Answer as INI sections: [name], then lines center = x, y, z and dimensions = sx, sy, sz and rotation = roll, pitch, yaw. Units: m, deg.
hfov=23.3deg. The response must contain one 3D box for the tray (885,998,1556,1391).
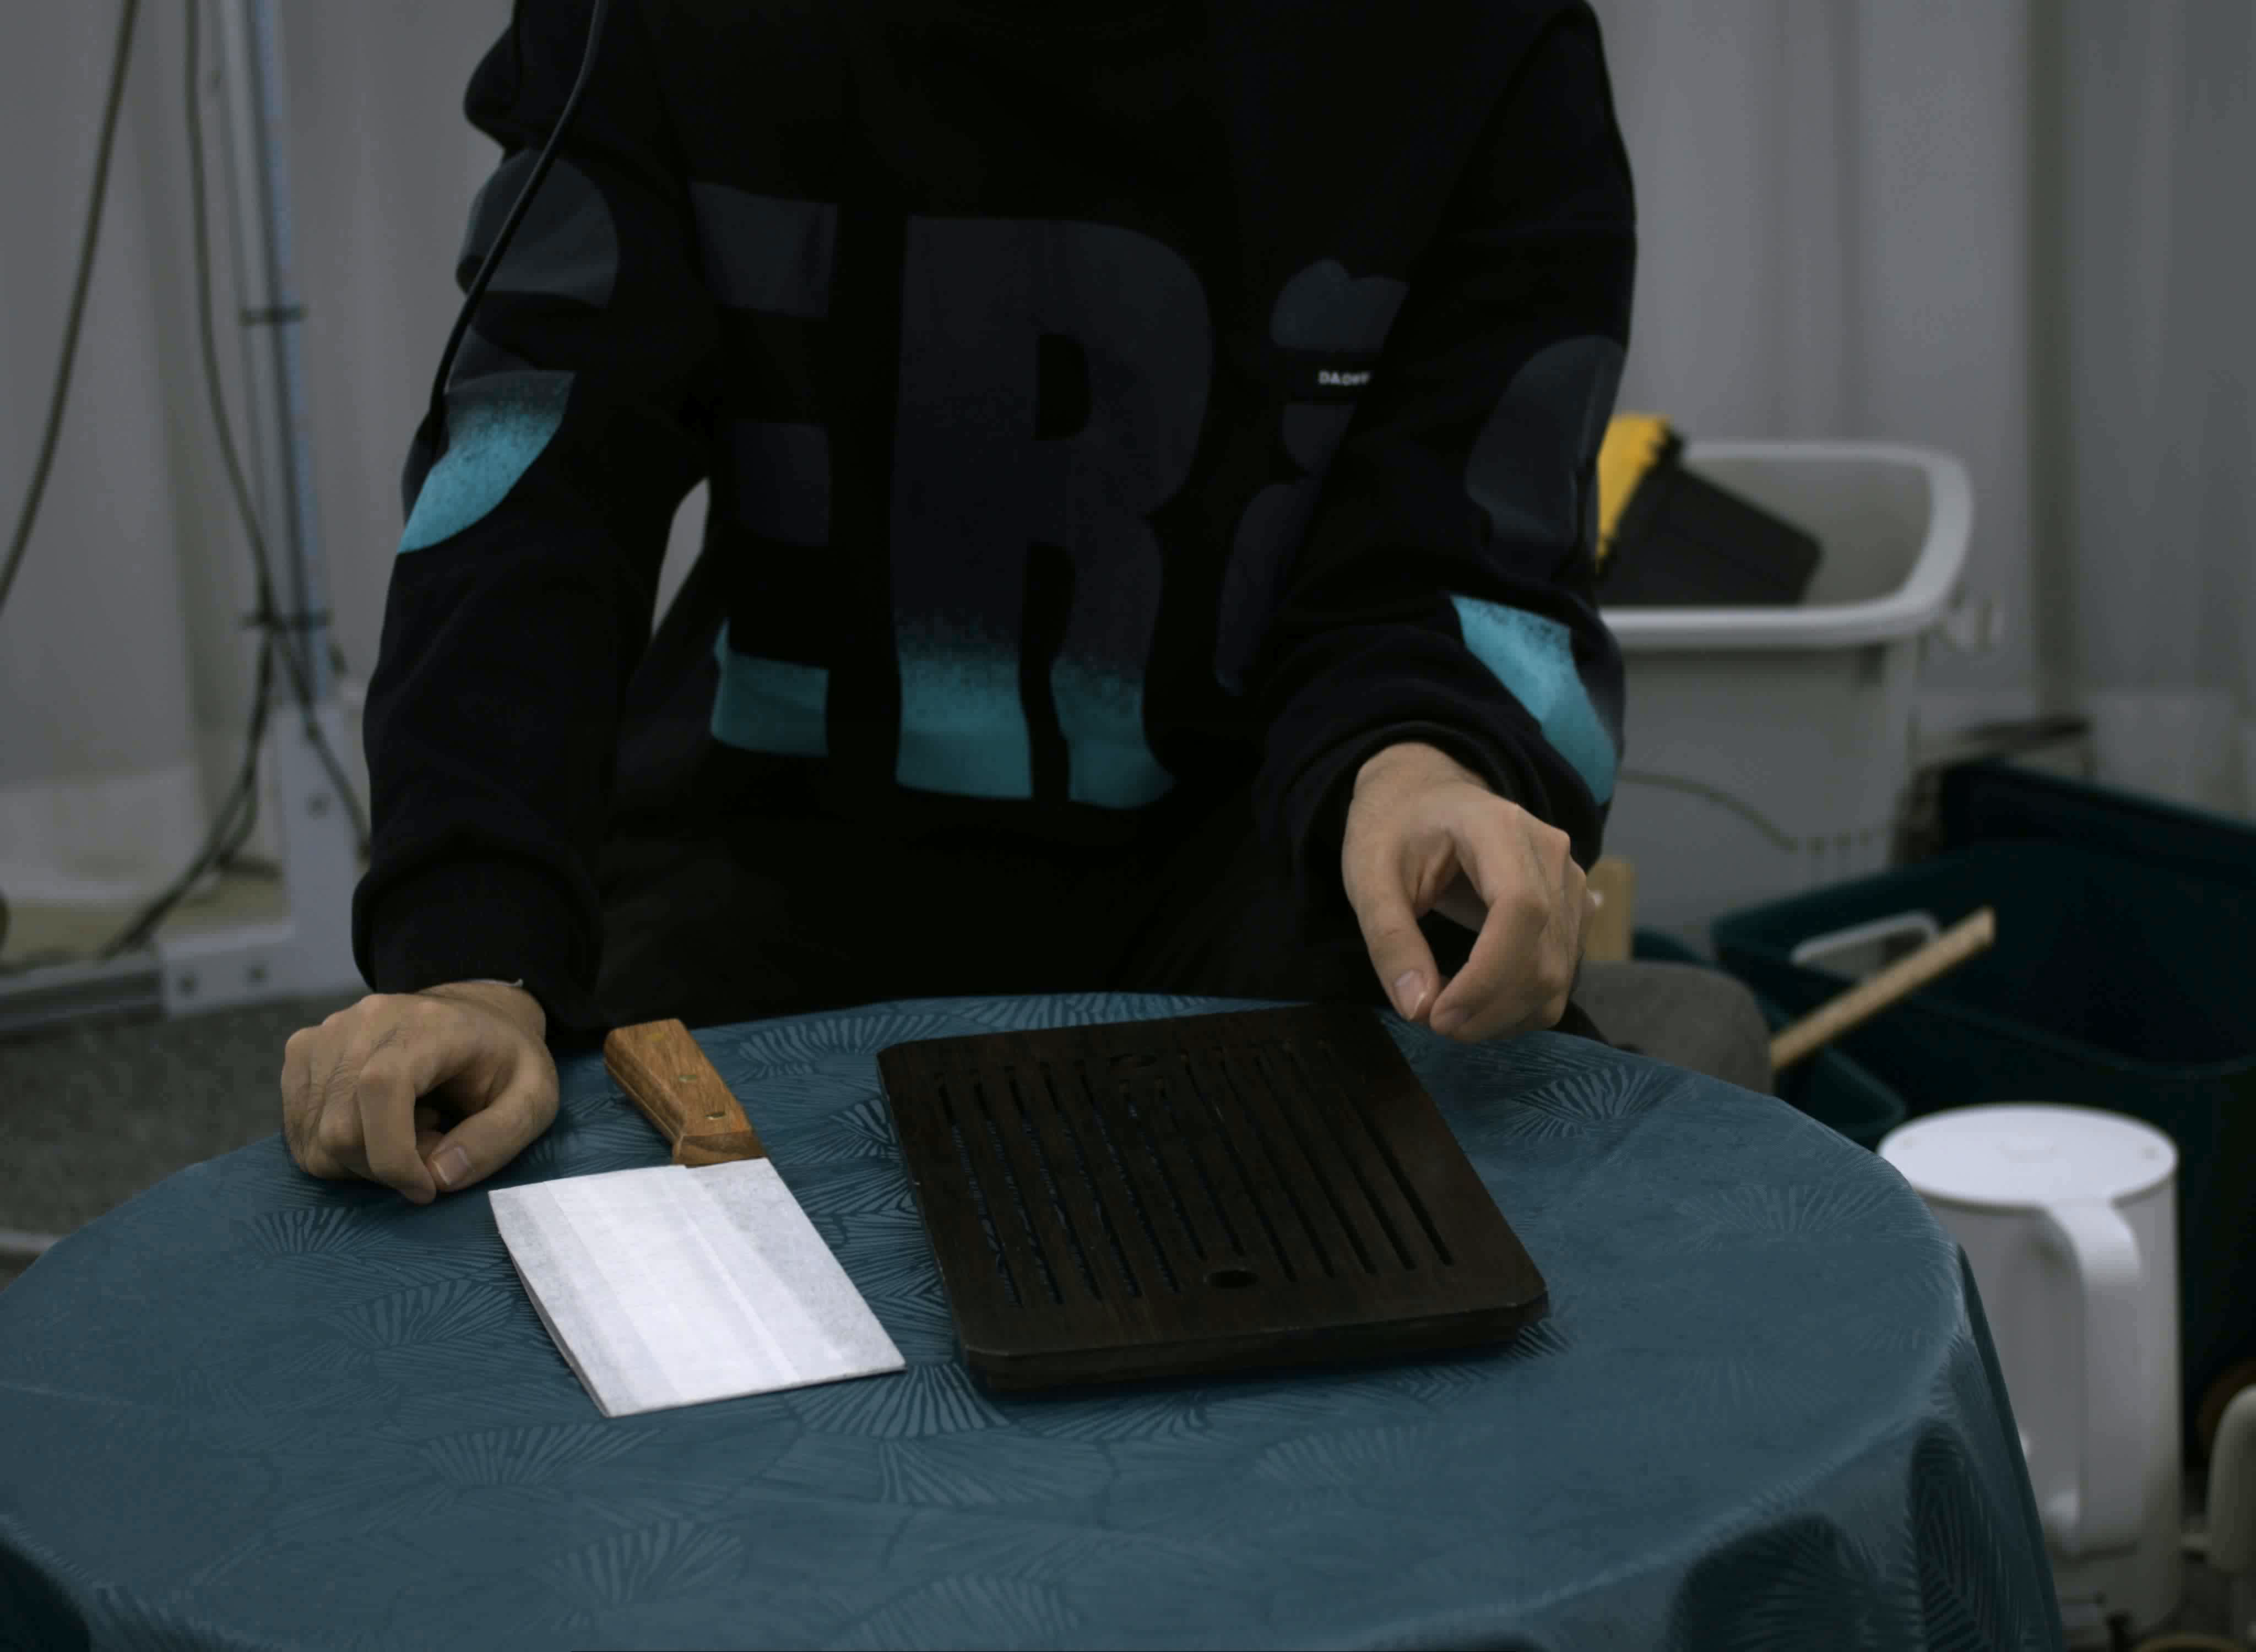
[tray]
center = 0.021, 0.111, 1.690
dimensions = 0.169, 0.018, 0.308
rotation = -5, 15, -6

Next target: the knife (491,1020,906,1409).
[knife]
center = -0.147, 0.120, 1.697
dimensions = 0.092, 0.021, 0.308
rotation = -9, 18, -15
